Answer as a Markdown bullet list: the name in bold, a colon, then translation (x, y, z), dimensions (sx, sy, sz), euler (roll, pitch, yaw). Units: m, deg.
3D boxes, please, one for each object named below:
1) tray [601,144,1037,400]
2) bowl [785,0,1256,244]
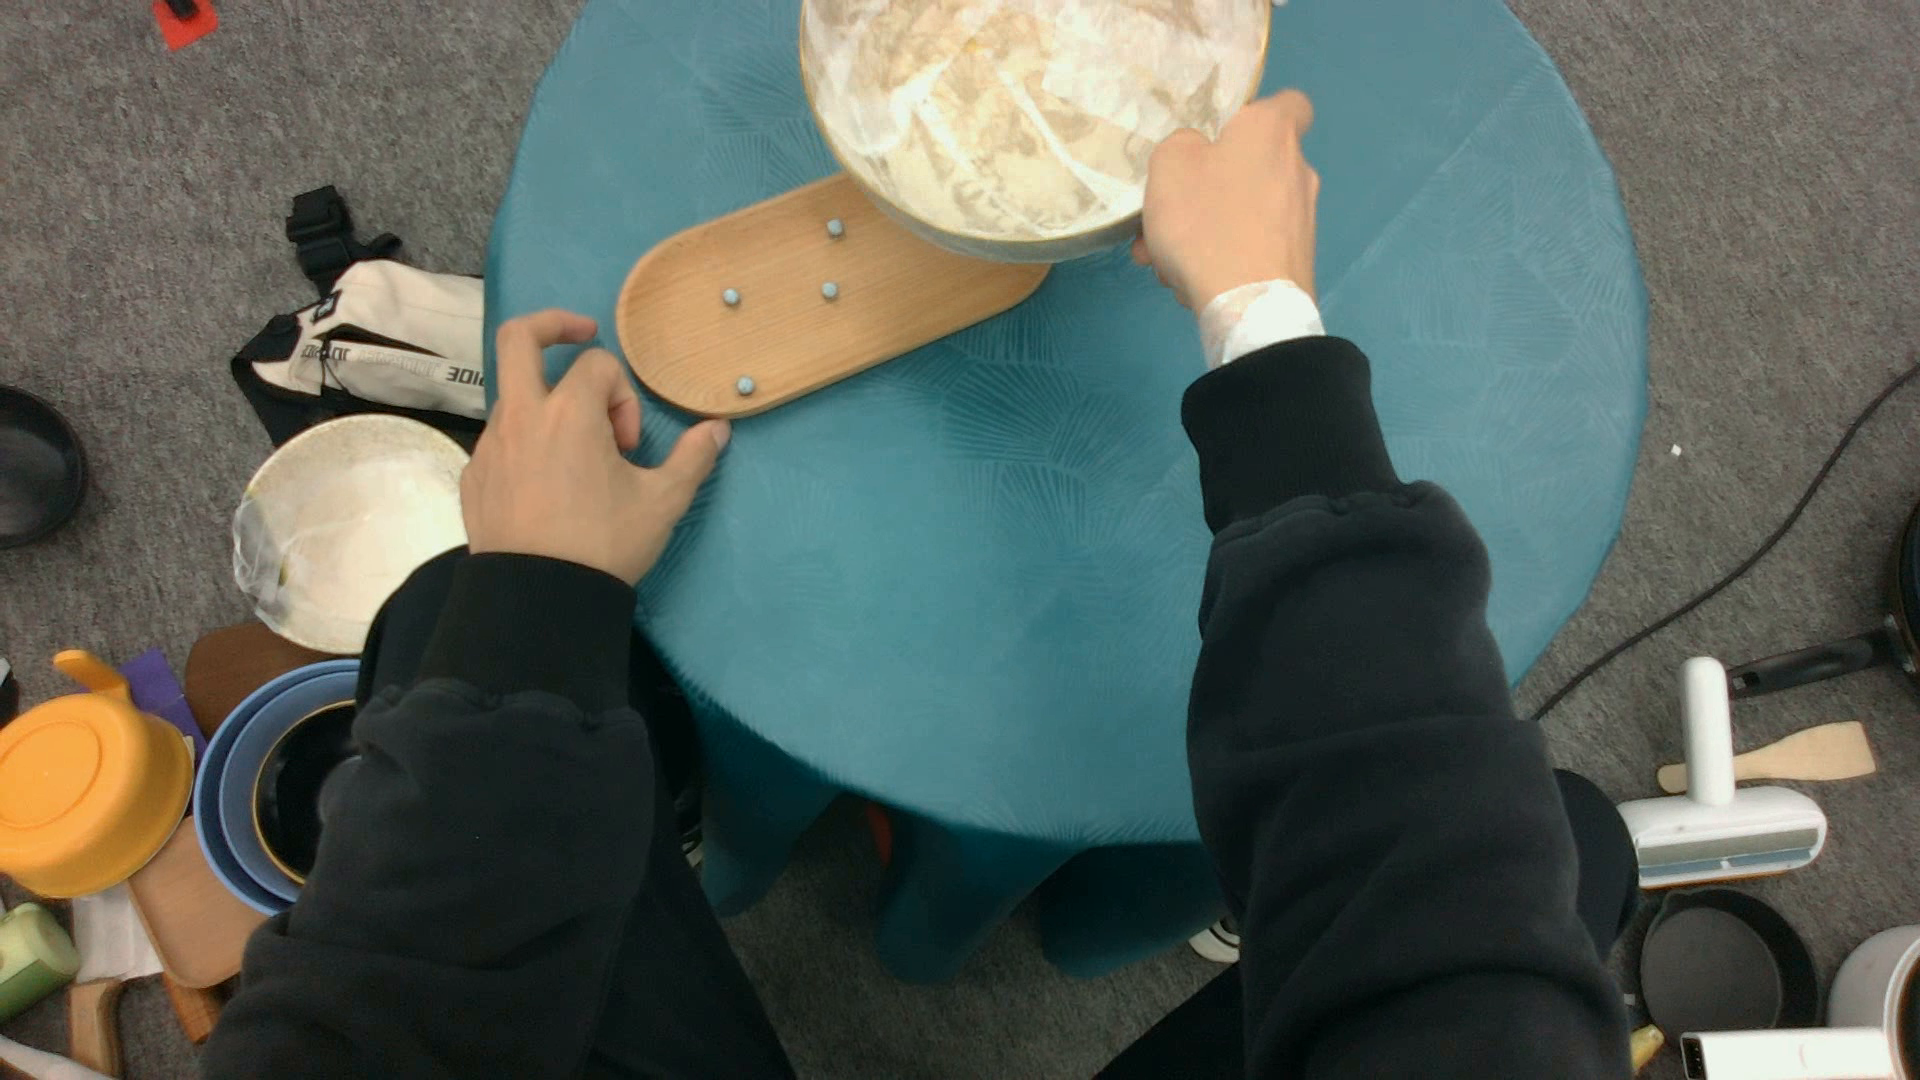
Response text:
- **tray**: translation (-0.066, -0.143, 0.690), dimensions (0.232, 0.020, 0.102), euler (-25, 79, -15)
- **bowl**: translation (0.023, -0.217, 0.625), dimensions (0.215, 0.094, 0.215), euler (0, 78, -1)
